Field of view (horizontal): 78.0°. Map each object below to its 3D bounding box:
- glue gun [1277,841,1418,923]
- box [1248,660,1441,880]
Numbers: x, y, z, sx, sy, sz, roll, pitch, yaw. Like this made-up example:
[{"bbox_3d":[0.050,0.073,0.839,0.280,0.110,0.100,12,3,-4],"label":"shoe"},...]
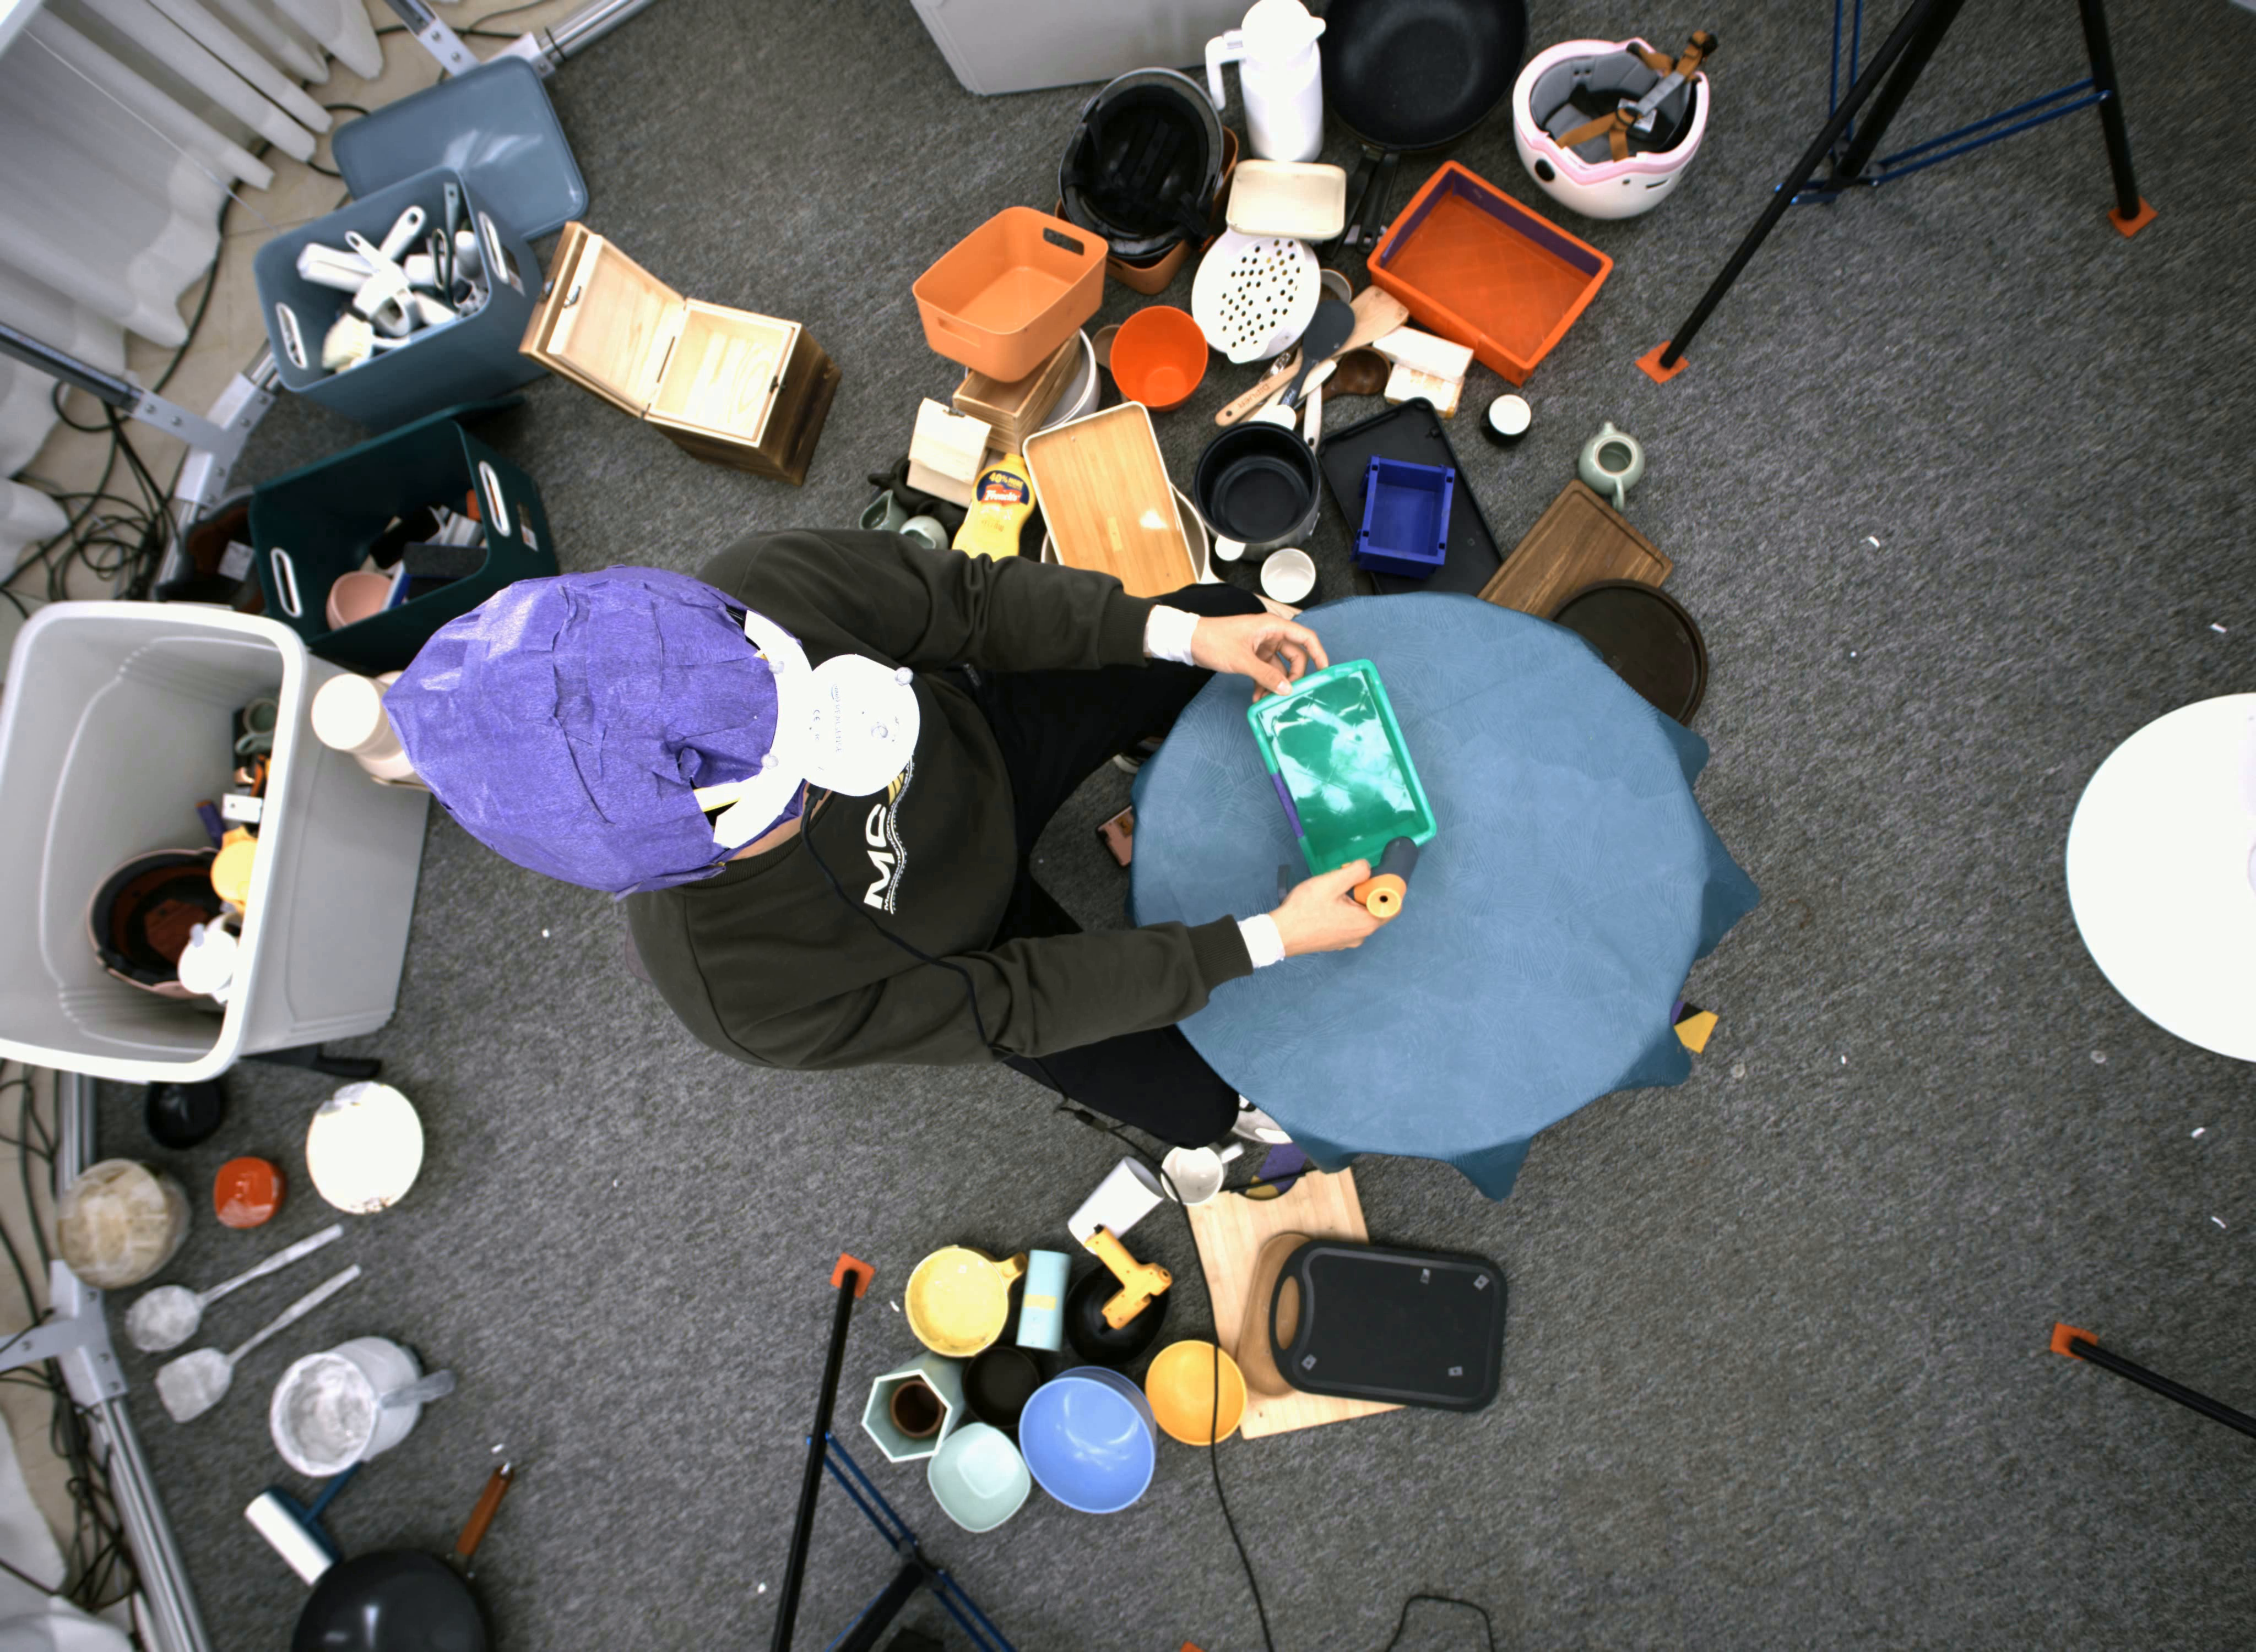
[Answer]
[{"bbox_3d":[0.220,0.052,1.366,0.140,0.116,0.041,-12,108,11],"label":"glue gun"},{"bbox_3d":[0.220,-0.061,1.416,0.139,0.064,0.212,-23,106,9],"label":"box"}]
